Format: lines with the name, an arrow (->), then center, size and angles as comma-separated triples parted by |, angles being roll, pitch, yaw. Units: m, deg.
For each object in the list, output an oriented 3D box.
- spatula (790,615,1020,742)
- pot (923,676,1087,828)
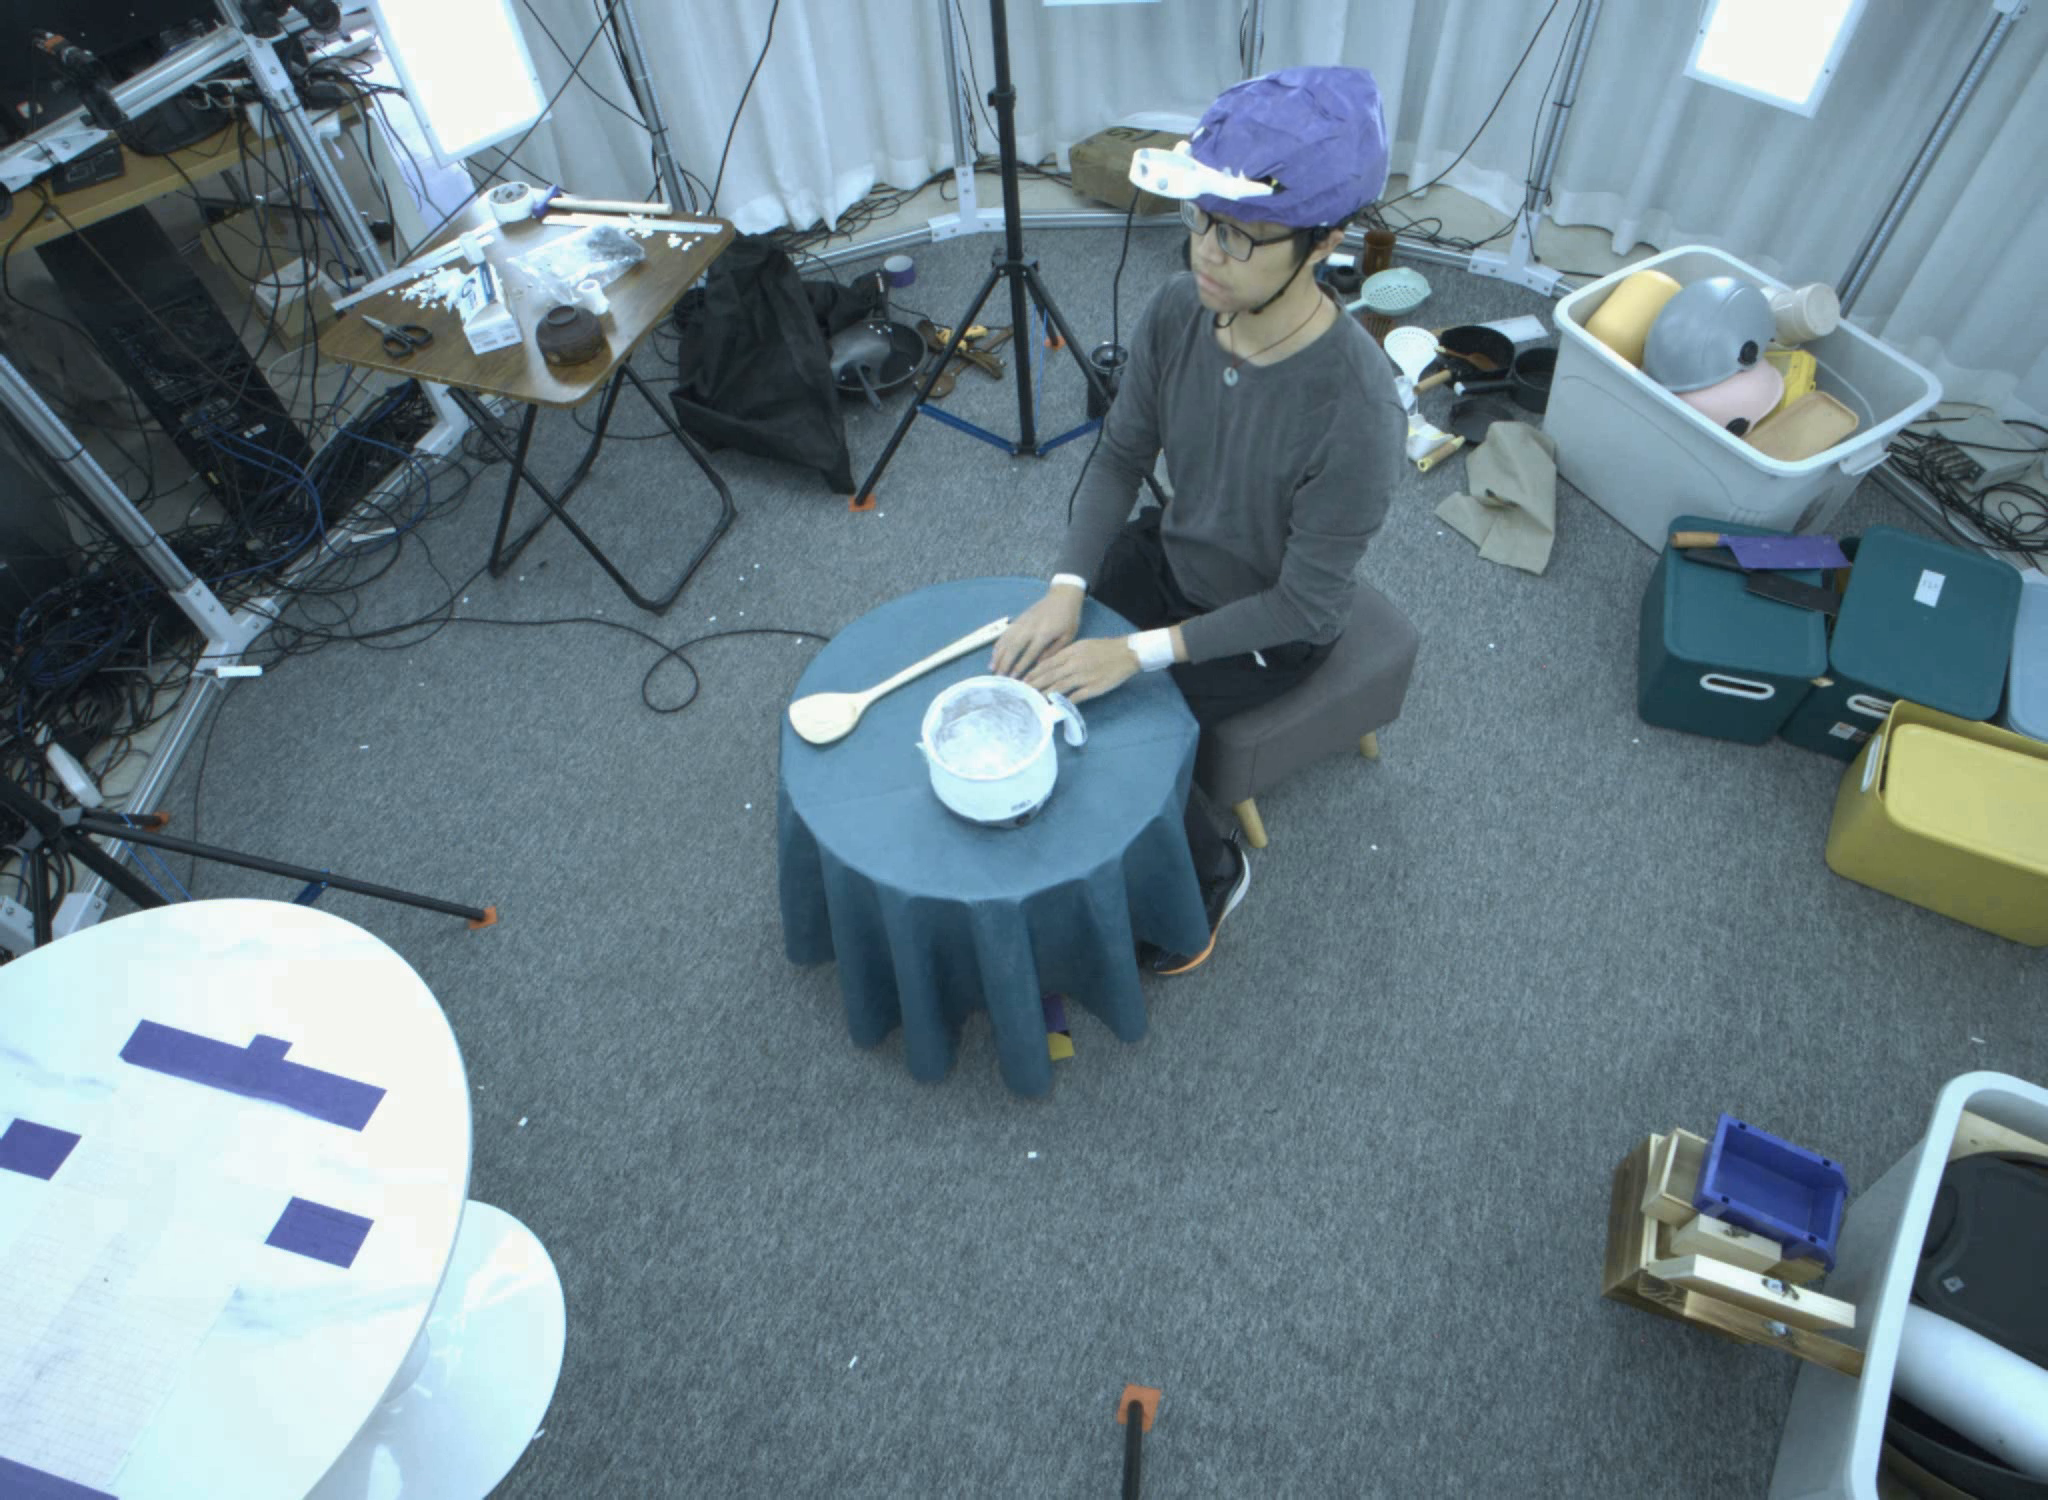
spatula -> -0.176, -0.122, 1.875 | 0.394, 0.018, 0.094 | -29, 60, -18
pot -> -0.020, -0.007, 1.715 | 0.235, 0.138, 0.175 | -26, 58, -15
